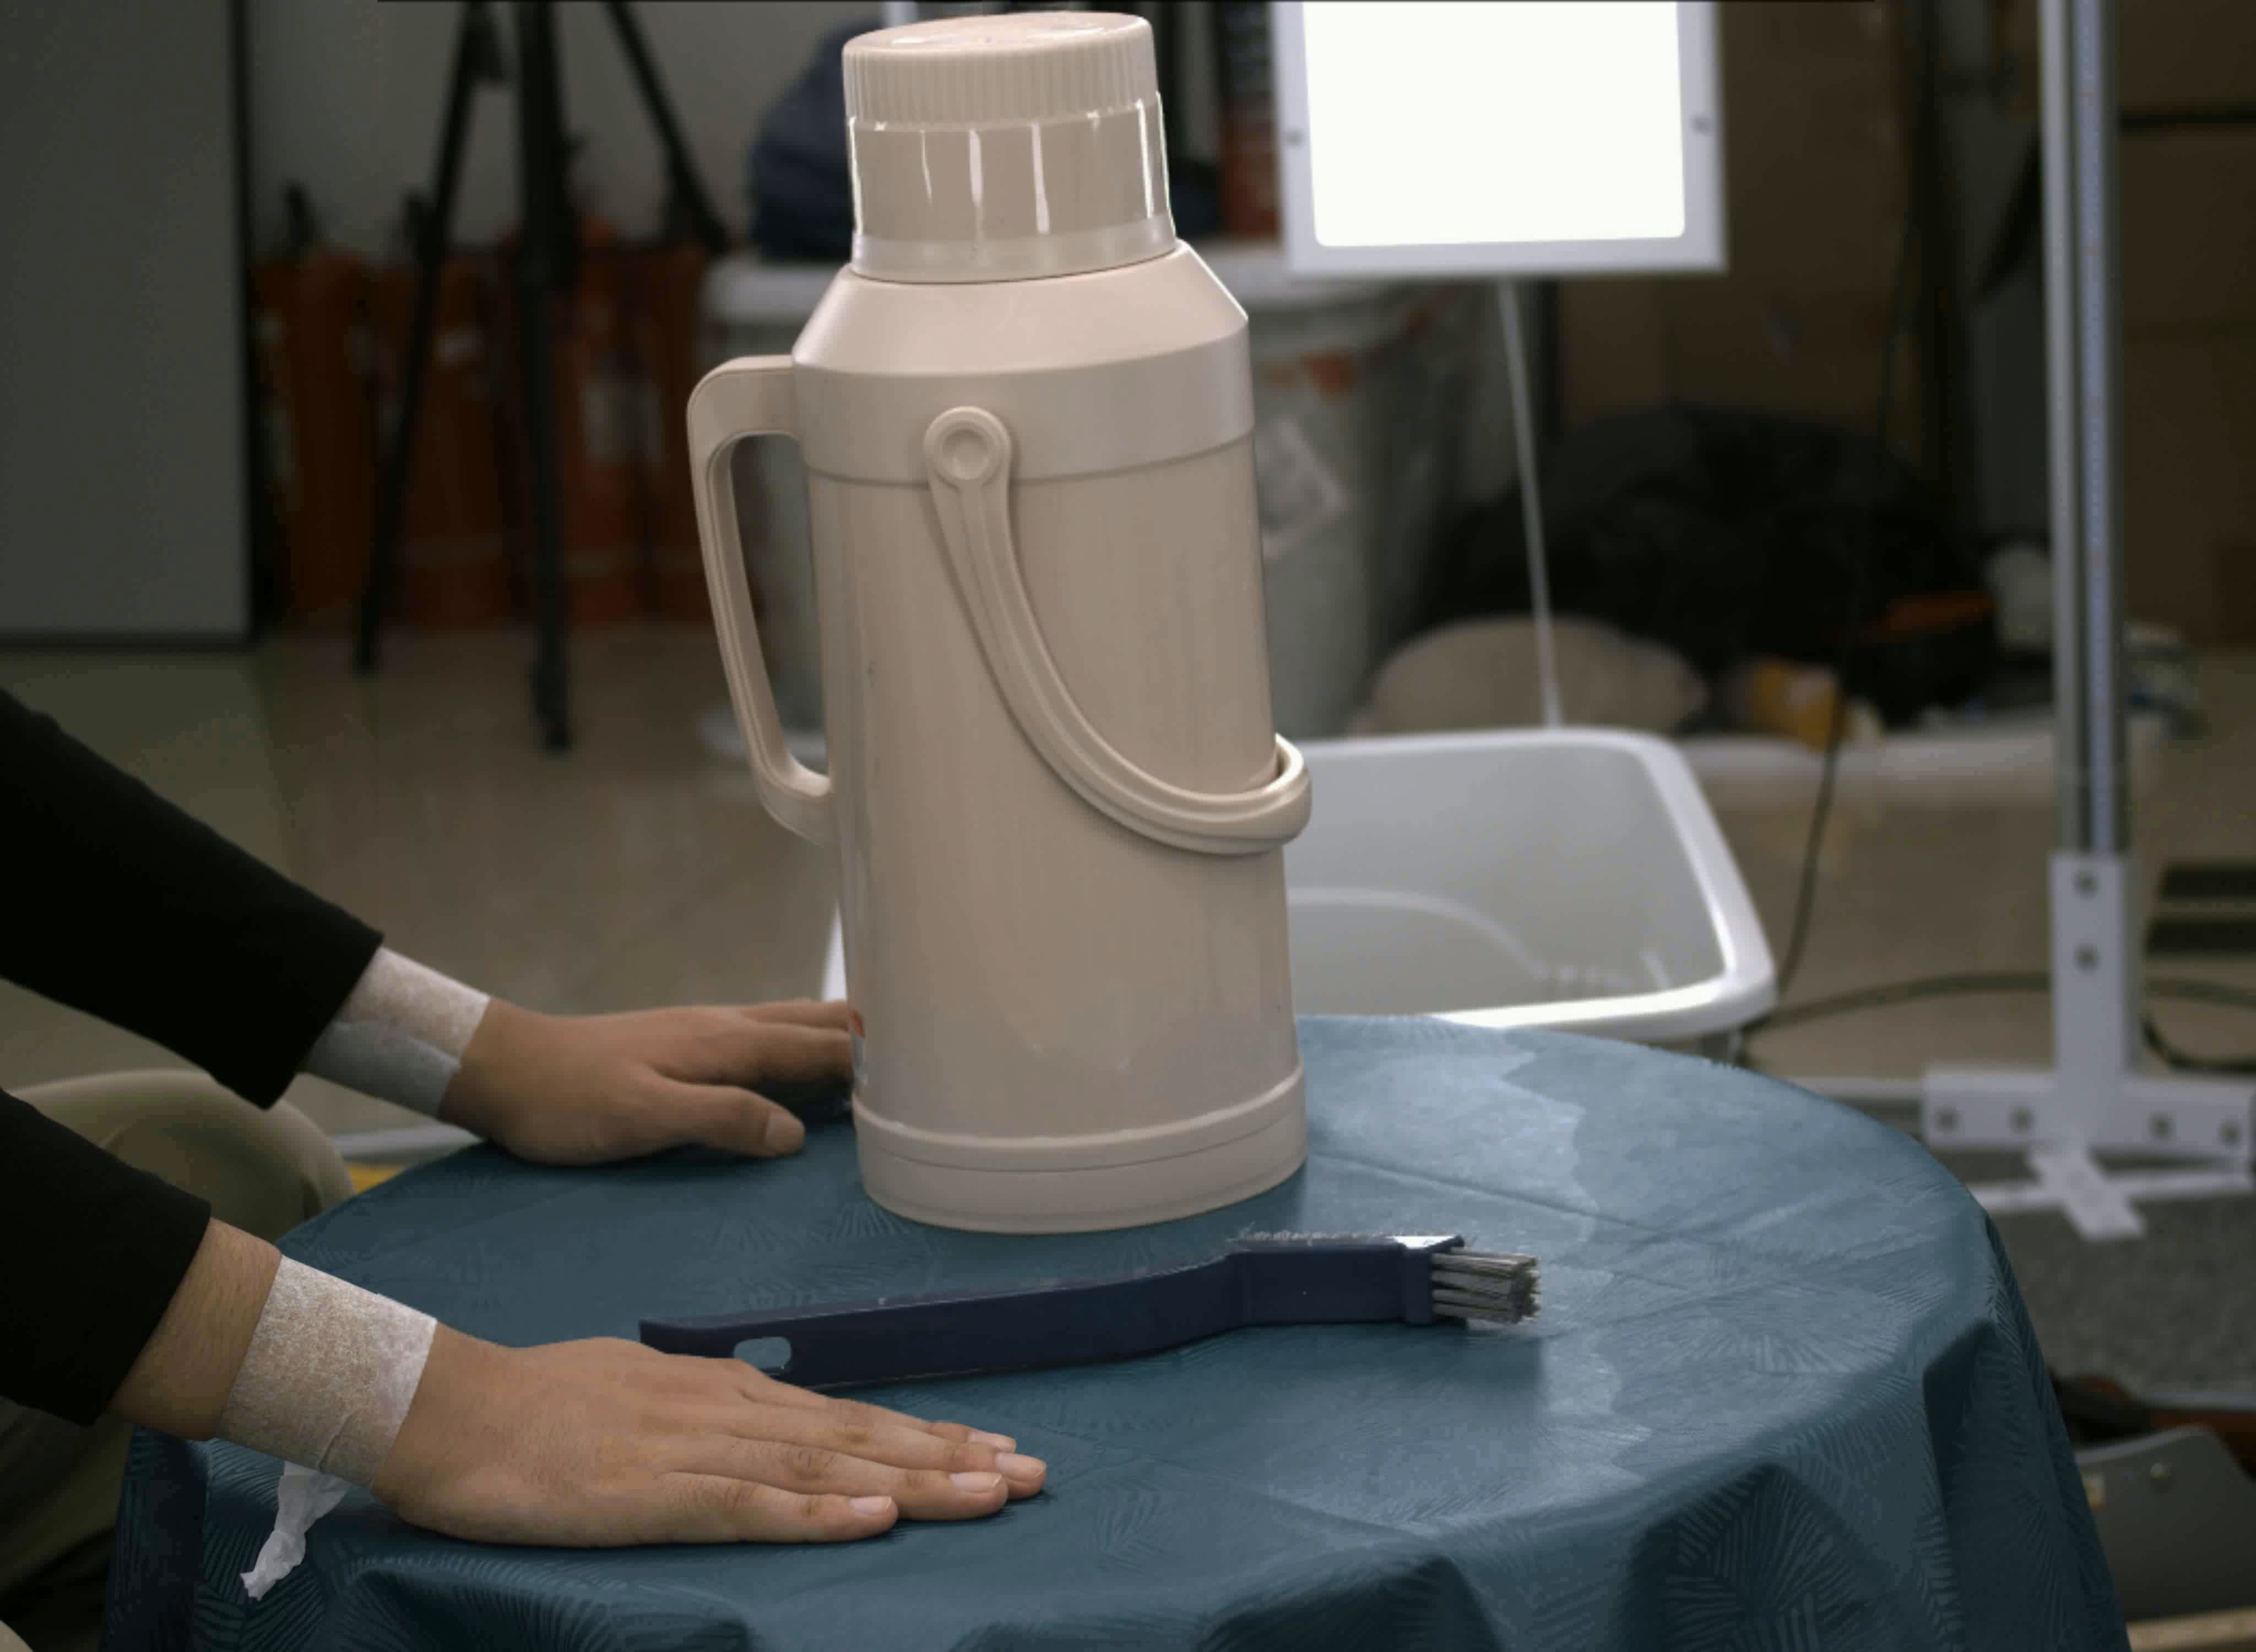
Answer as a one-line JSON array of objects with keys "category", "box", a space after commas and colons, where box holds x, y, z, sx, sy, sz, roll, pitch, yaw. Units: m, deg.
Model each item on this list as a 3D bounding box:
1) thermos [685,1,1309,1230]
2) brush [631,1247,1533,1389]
[{"category": "thermos", "box": [-0.044, -0.073, 1.894, 0.209, 0.408, 0.173, -1, 16, 13]}, {"category": "brush", "box": [-0.016, 0.154, 1.722, 0.269, 0.033, 0.096, -6, 12, -12]}]
